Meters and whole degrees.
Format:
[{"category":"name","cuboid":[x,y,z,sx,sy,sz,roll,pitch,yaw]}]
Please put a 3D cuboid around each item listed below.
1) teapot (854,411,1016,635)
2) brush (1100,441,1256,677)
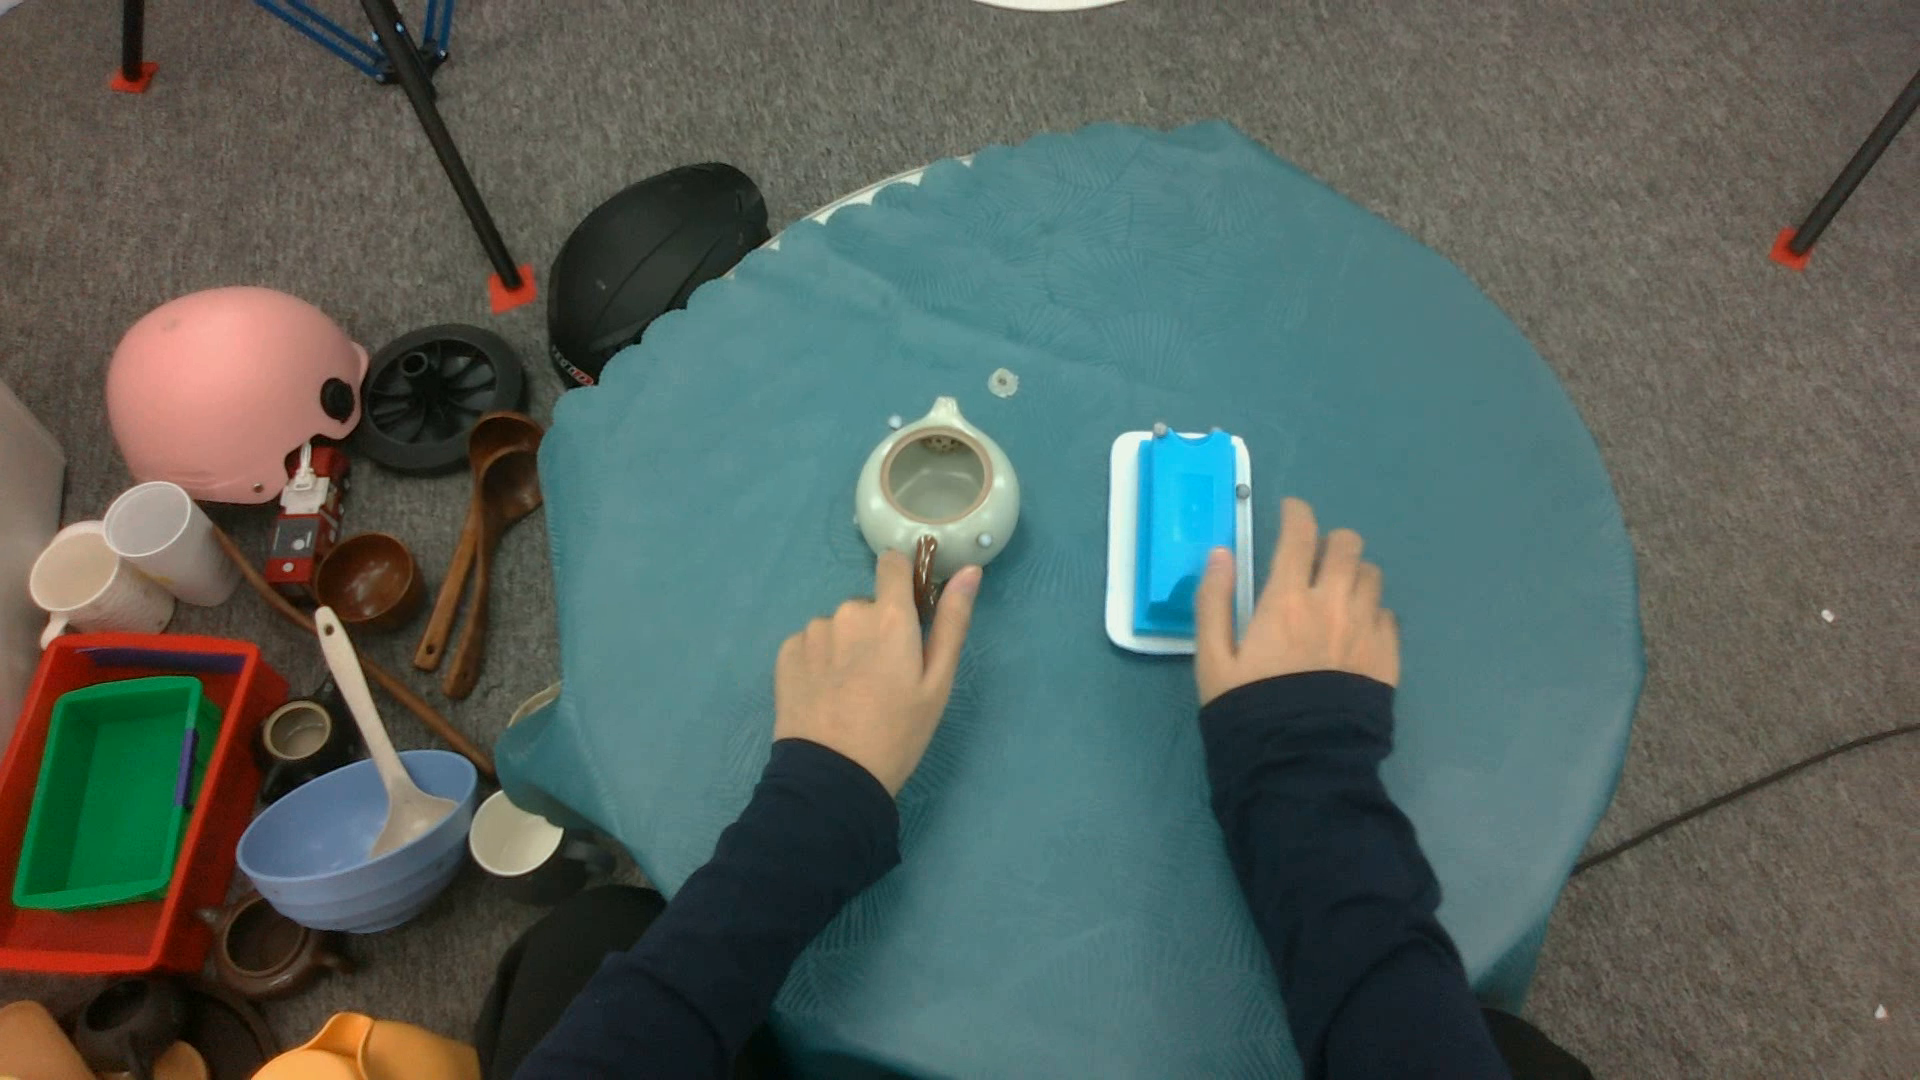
[{"category":"teapot","cuboid":[-0.015,-0.007,0.772,0.092,0.059,0.128,3,60,1]},{"category":"brush","cuboid":[0.123,0.003,0.761,0.084,0.055,0.144,4,59,7]}]
